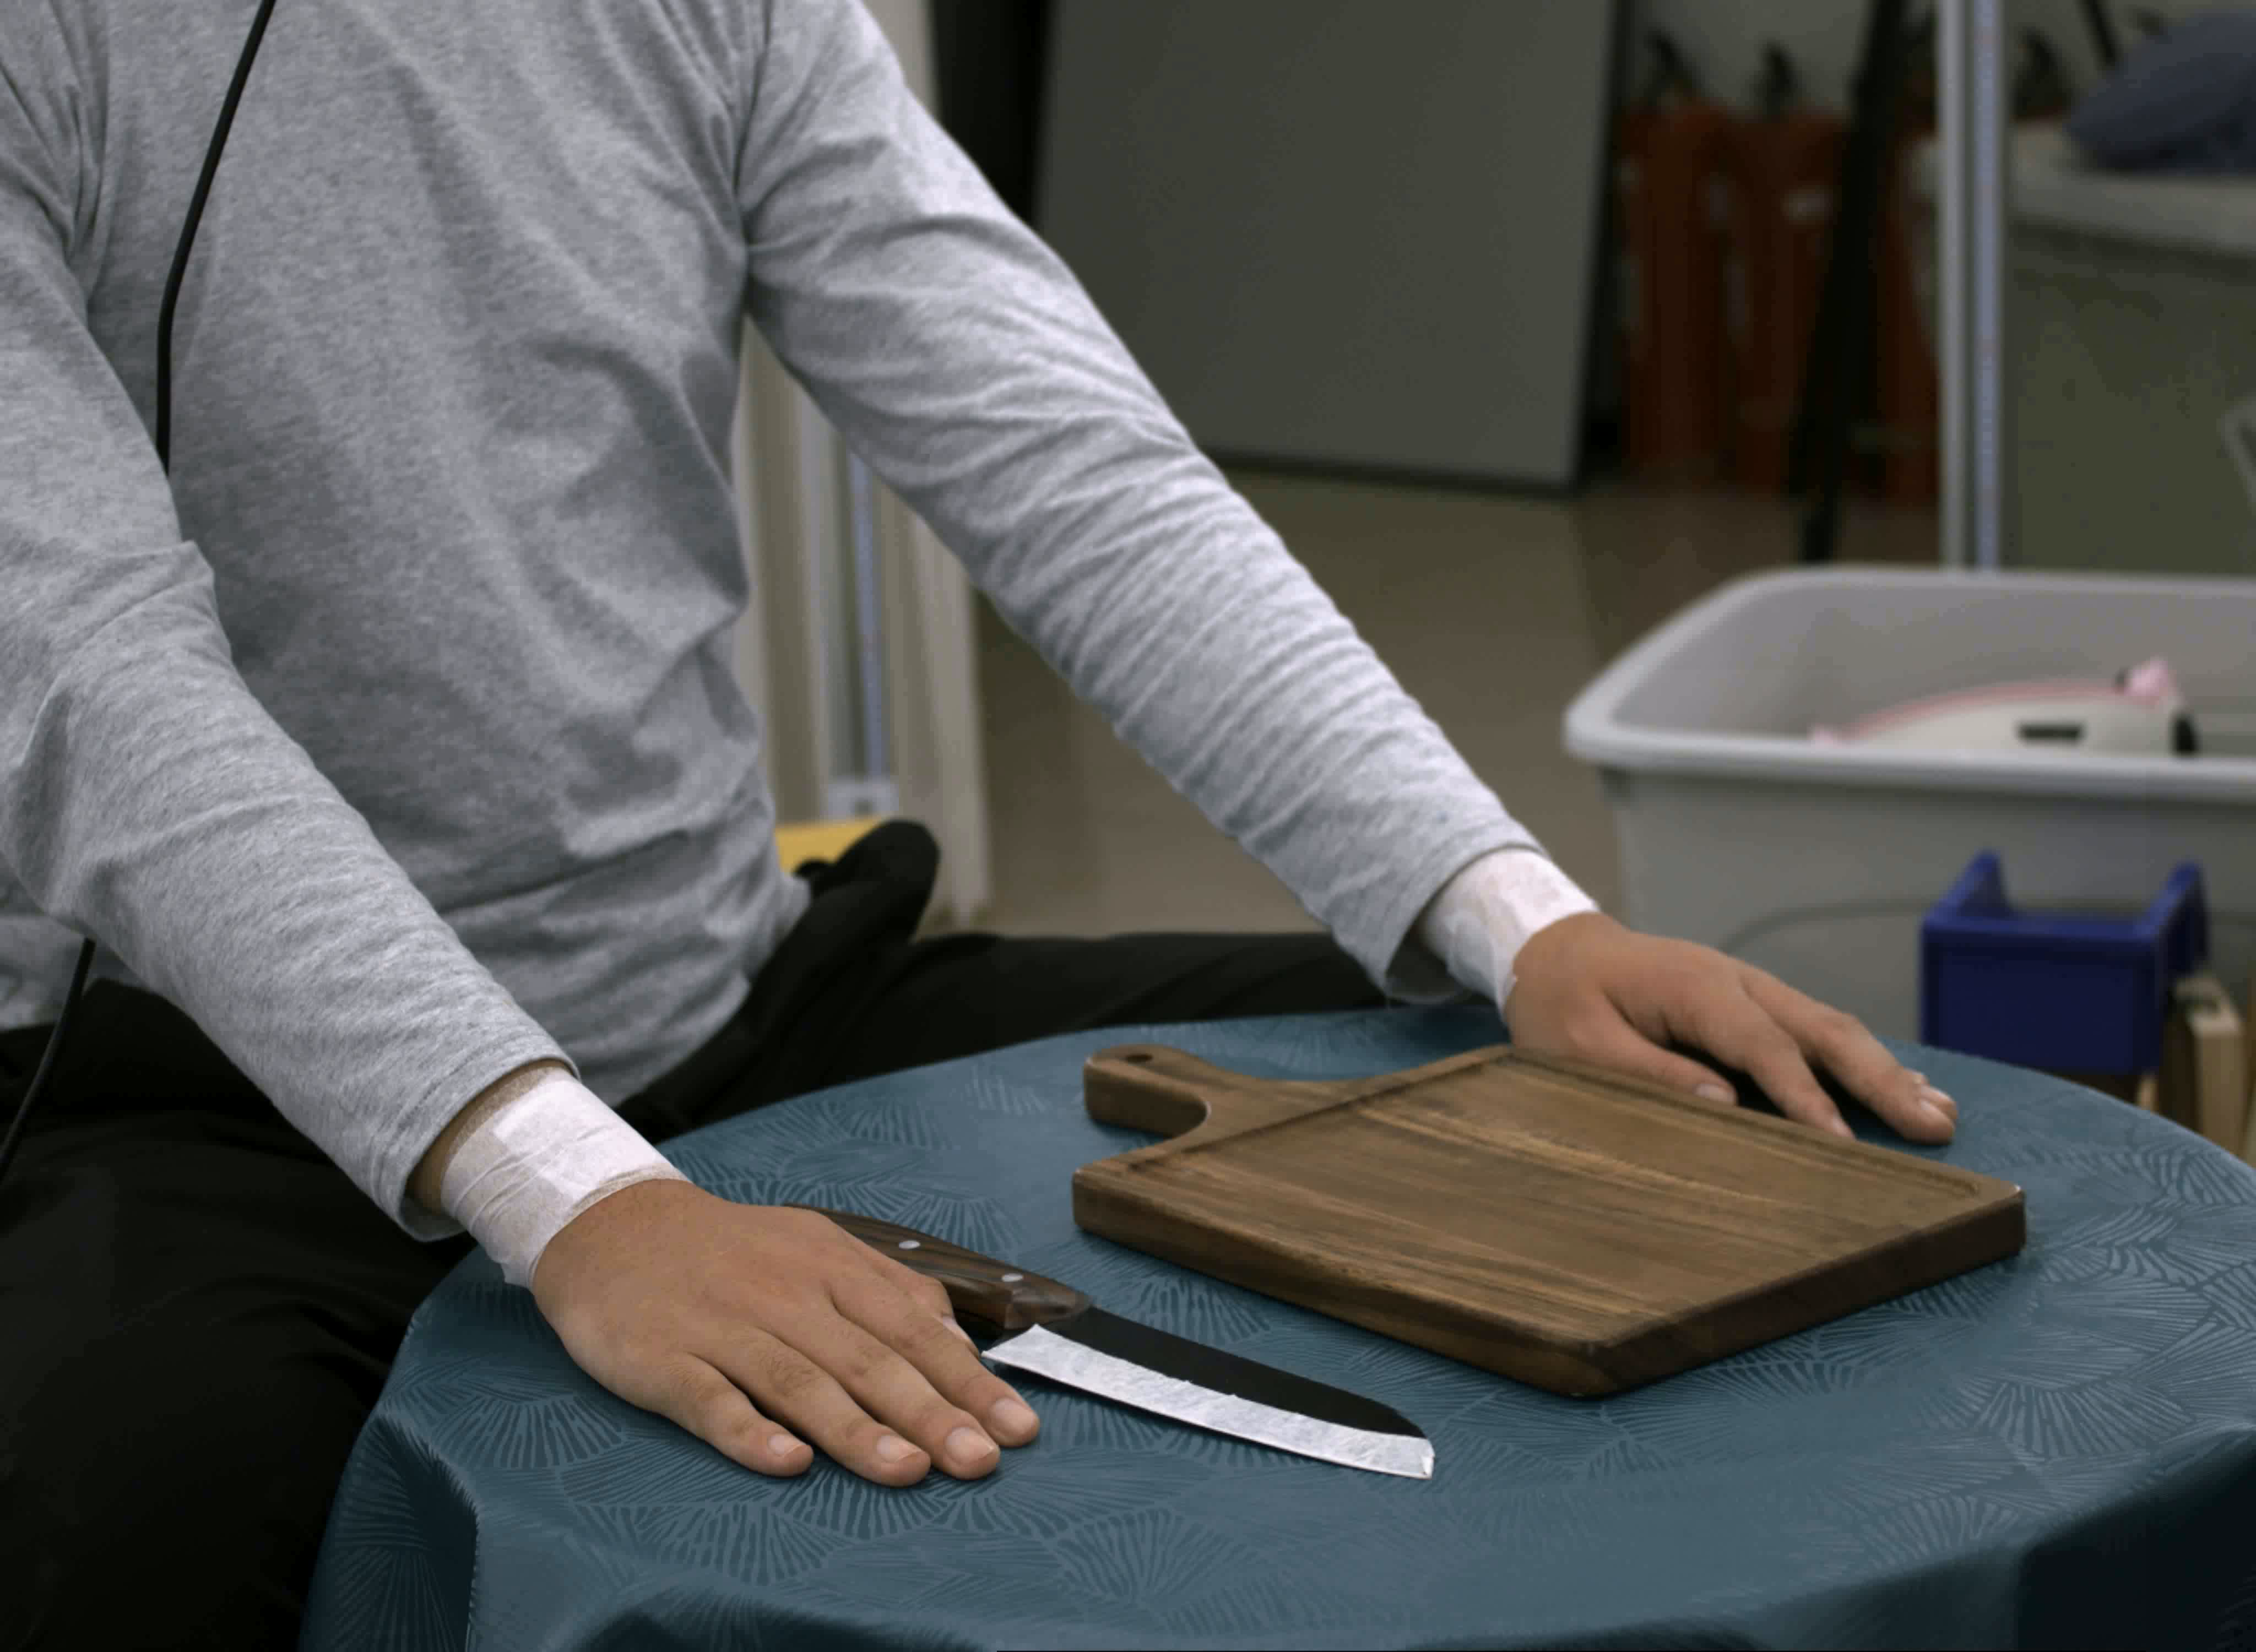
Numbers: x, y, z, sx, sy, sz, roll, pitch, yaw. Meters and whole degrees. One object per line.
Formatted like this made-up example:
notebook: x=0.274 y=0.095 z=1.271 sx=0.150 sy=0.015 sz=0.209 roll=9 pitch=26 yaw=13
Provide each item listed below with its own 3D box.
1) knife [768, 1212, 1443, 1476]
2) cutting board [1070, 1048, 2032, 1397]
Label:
knife: x=-0.011 y=0.156 z=1.606 sx=0.049 sy=0.020 sz=0.292 roll=-22 pitch=24 yaw=-38
cutting board: x=0.100 y=0.113 z=1.736 sx=0.196 sy=0.023 sz=0.356 roll=-13 pitch=16 yaw=-36
